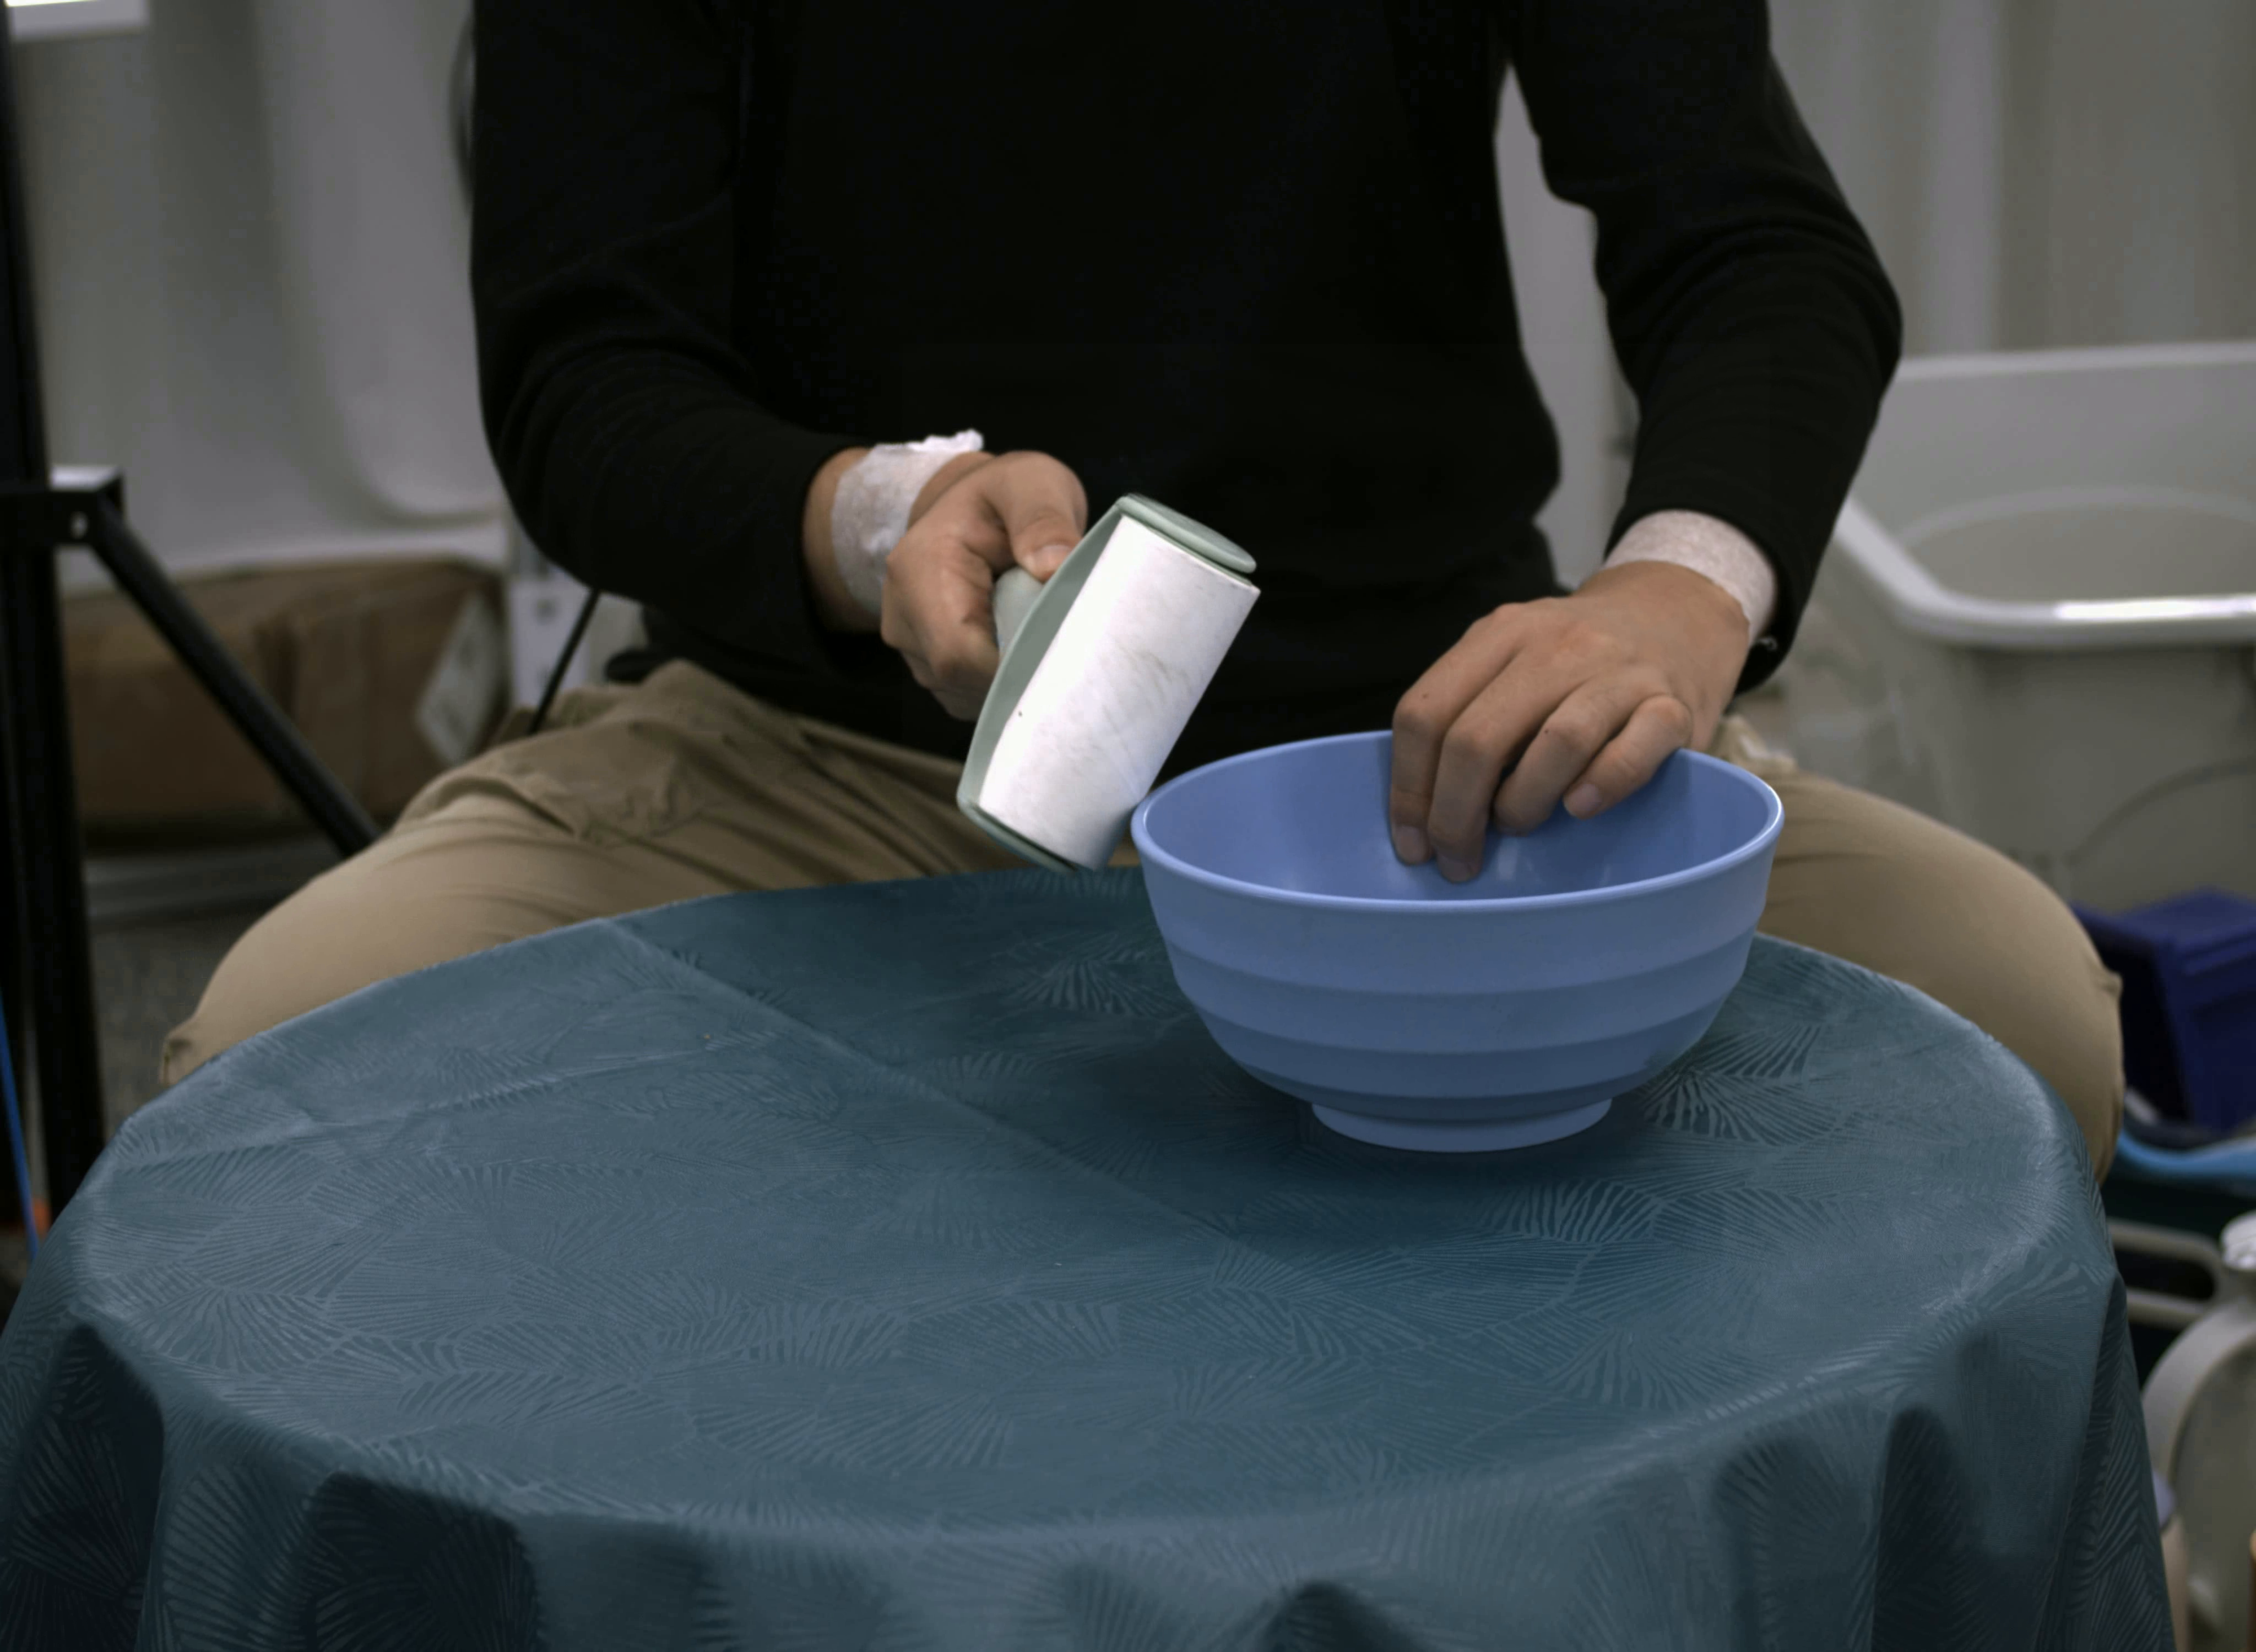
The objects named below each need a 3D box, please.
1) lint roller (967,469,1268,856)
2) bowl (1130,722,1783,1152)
[{"bbox_3d":[-0.018,-0.064,1.692,0.048,0.117,0.200,28,5,-18],"label":"lint roller"},{"bbox_3d":[0.100,0.039,1.606,0.195,0.095,0.197,-4,16,0],"label":"bowl"}]
